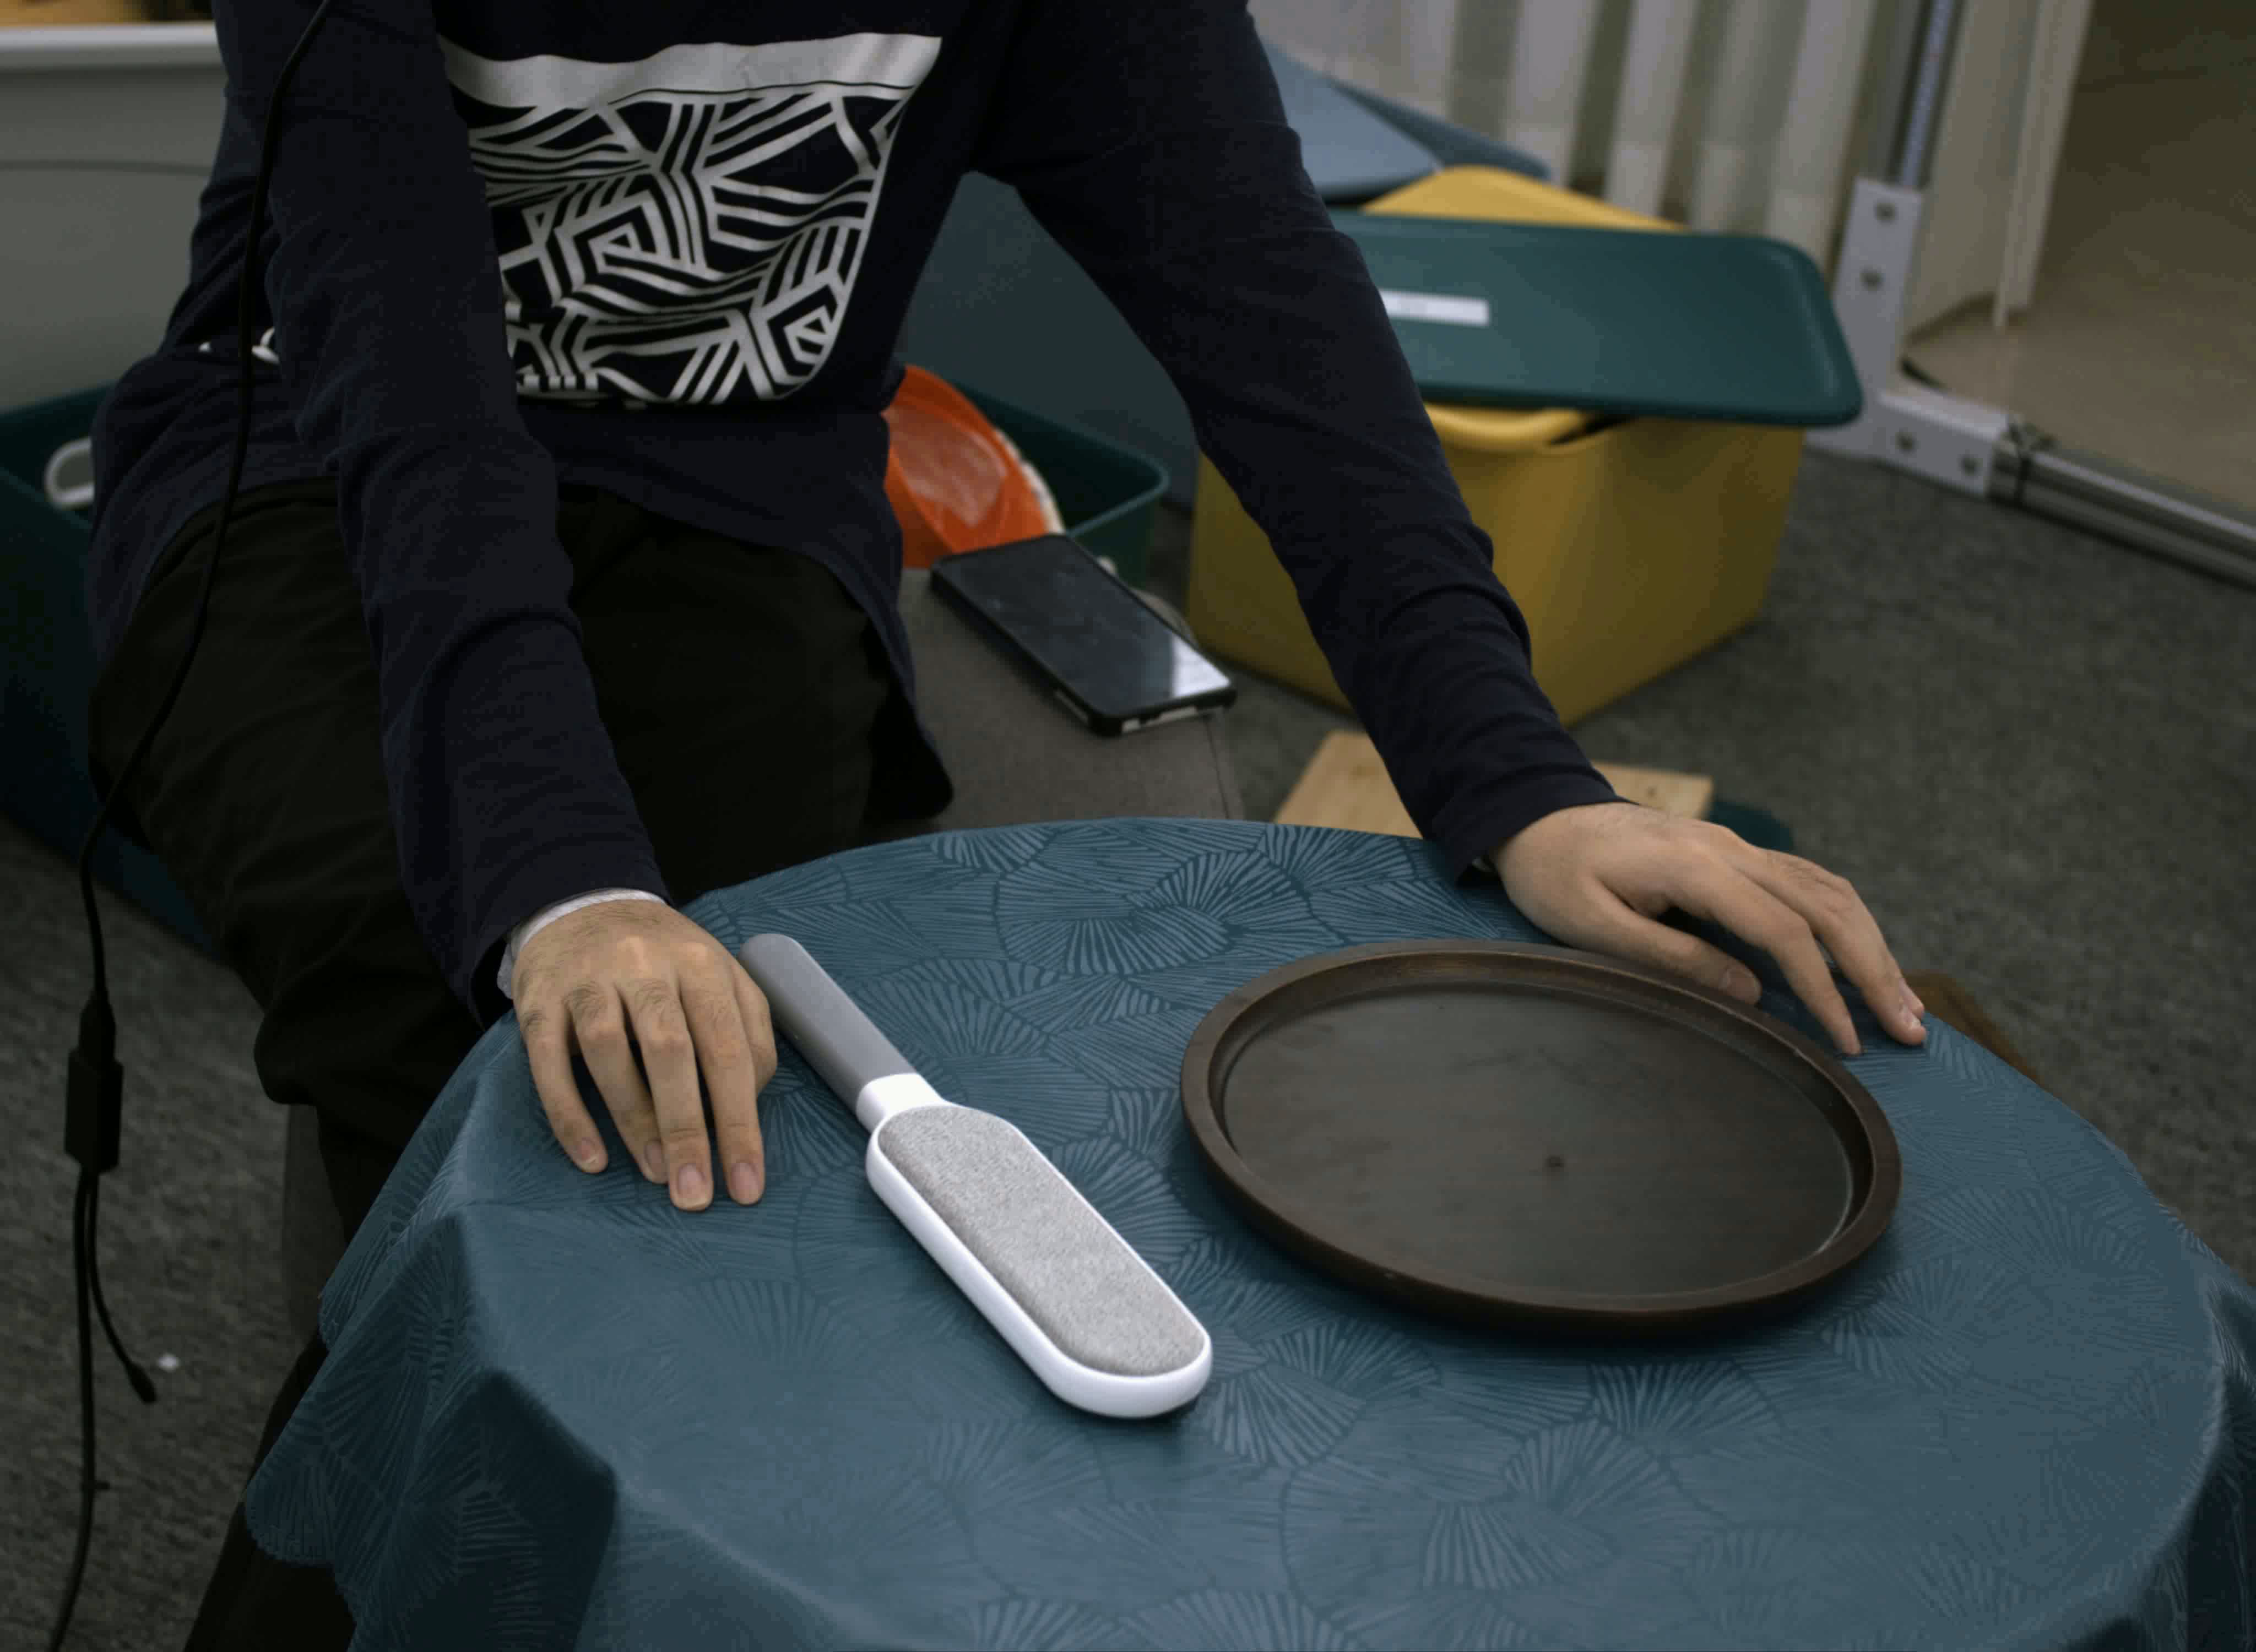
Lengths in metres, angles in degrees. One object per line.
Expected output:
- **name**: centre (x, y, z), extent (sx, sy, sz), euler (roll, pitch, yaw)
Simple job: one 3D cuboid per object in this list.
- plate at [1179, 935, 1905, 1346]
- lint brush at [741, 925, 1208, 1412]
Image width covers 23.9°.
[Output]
- **plate**: centre (0.142, 0.107, 1.843), extent (0.254, 0.029, 0.256), euler (7, 26, -4)
- **lint brush**: centre (-0.059, 0.110, 1.790), extent (0.060, 0.021, 0.312), euler (-13, 32, -24)
